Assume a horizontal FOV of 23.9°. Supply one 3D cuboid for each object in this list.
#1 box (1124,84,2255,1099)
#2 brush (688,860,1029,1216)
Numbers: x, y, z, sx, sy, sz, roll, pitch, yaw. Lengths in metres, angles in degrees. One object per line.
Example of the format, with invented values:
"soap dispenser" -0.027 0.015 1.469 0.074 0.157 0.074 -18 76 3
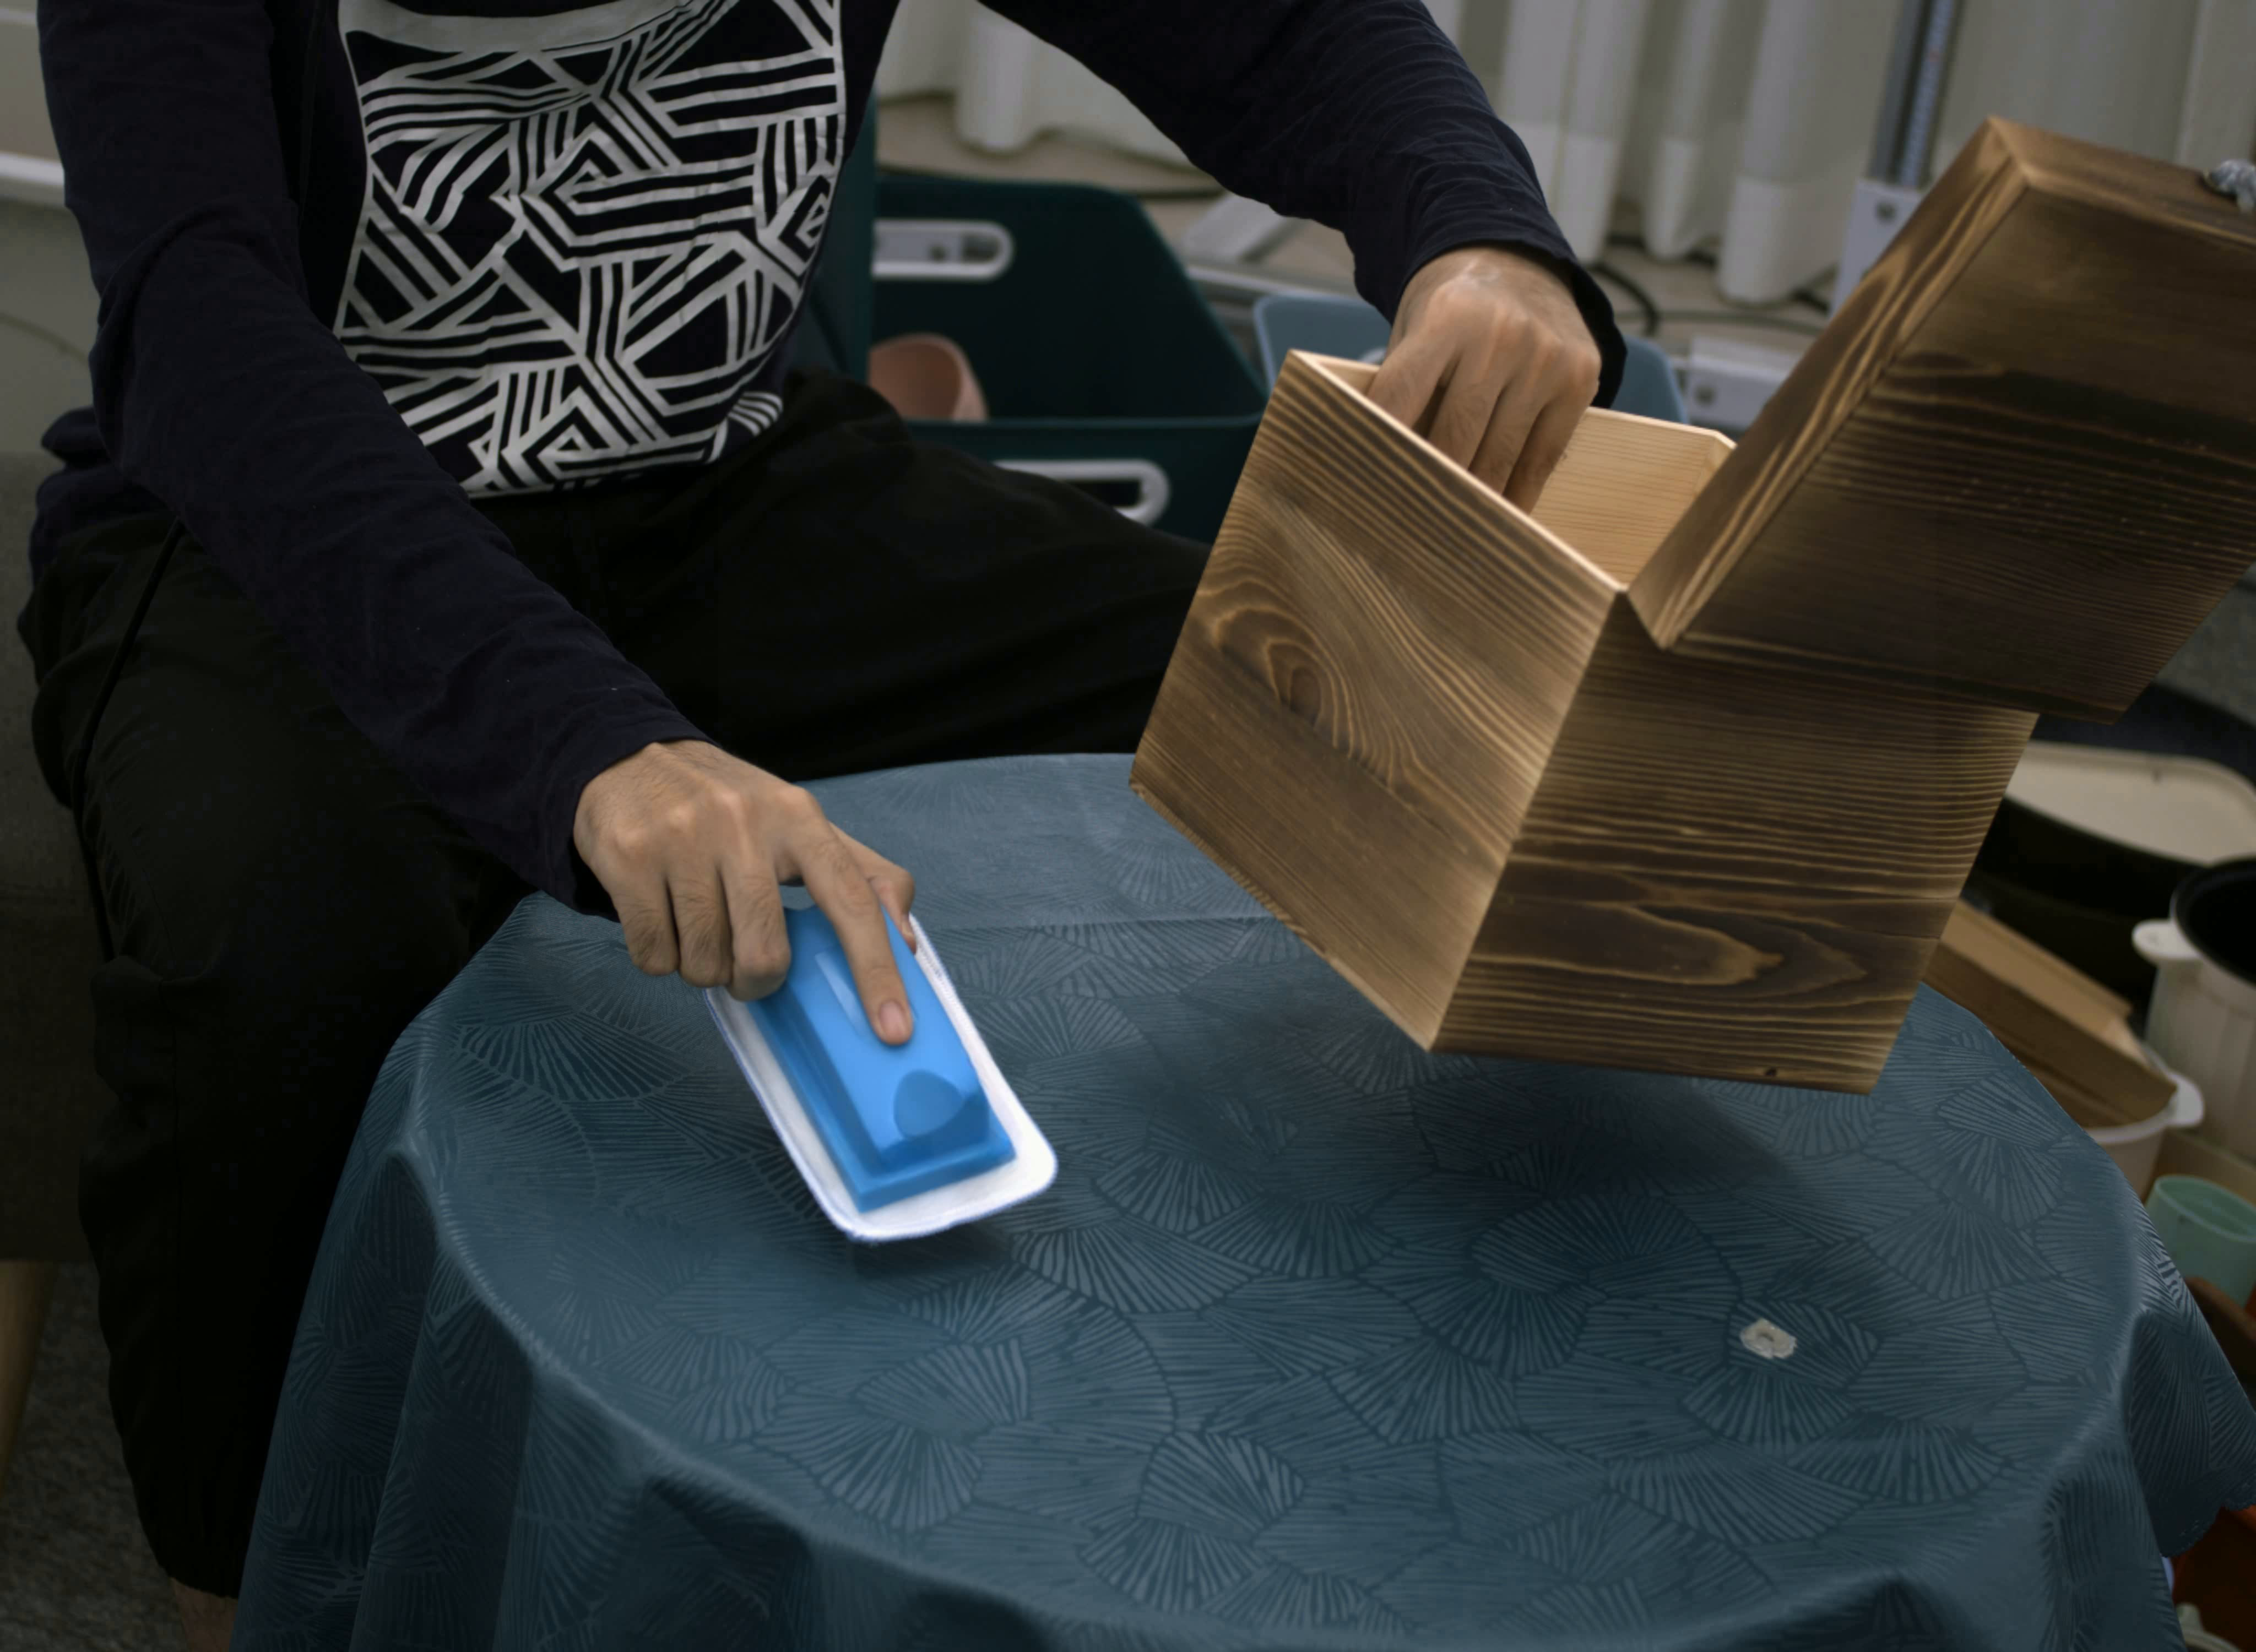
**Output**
"box" 0.216 -0.099 1.771 0.207 0.375 0.325 8 21 -36
"brush" -0.088 0.063 1.771 0.083 0.055 0.145 -12 49 -20
